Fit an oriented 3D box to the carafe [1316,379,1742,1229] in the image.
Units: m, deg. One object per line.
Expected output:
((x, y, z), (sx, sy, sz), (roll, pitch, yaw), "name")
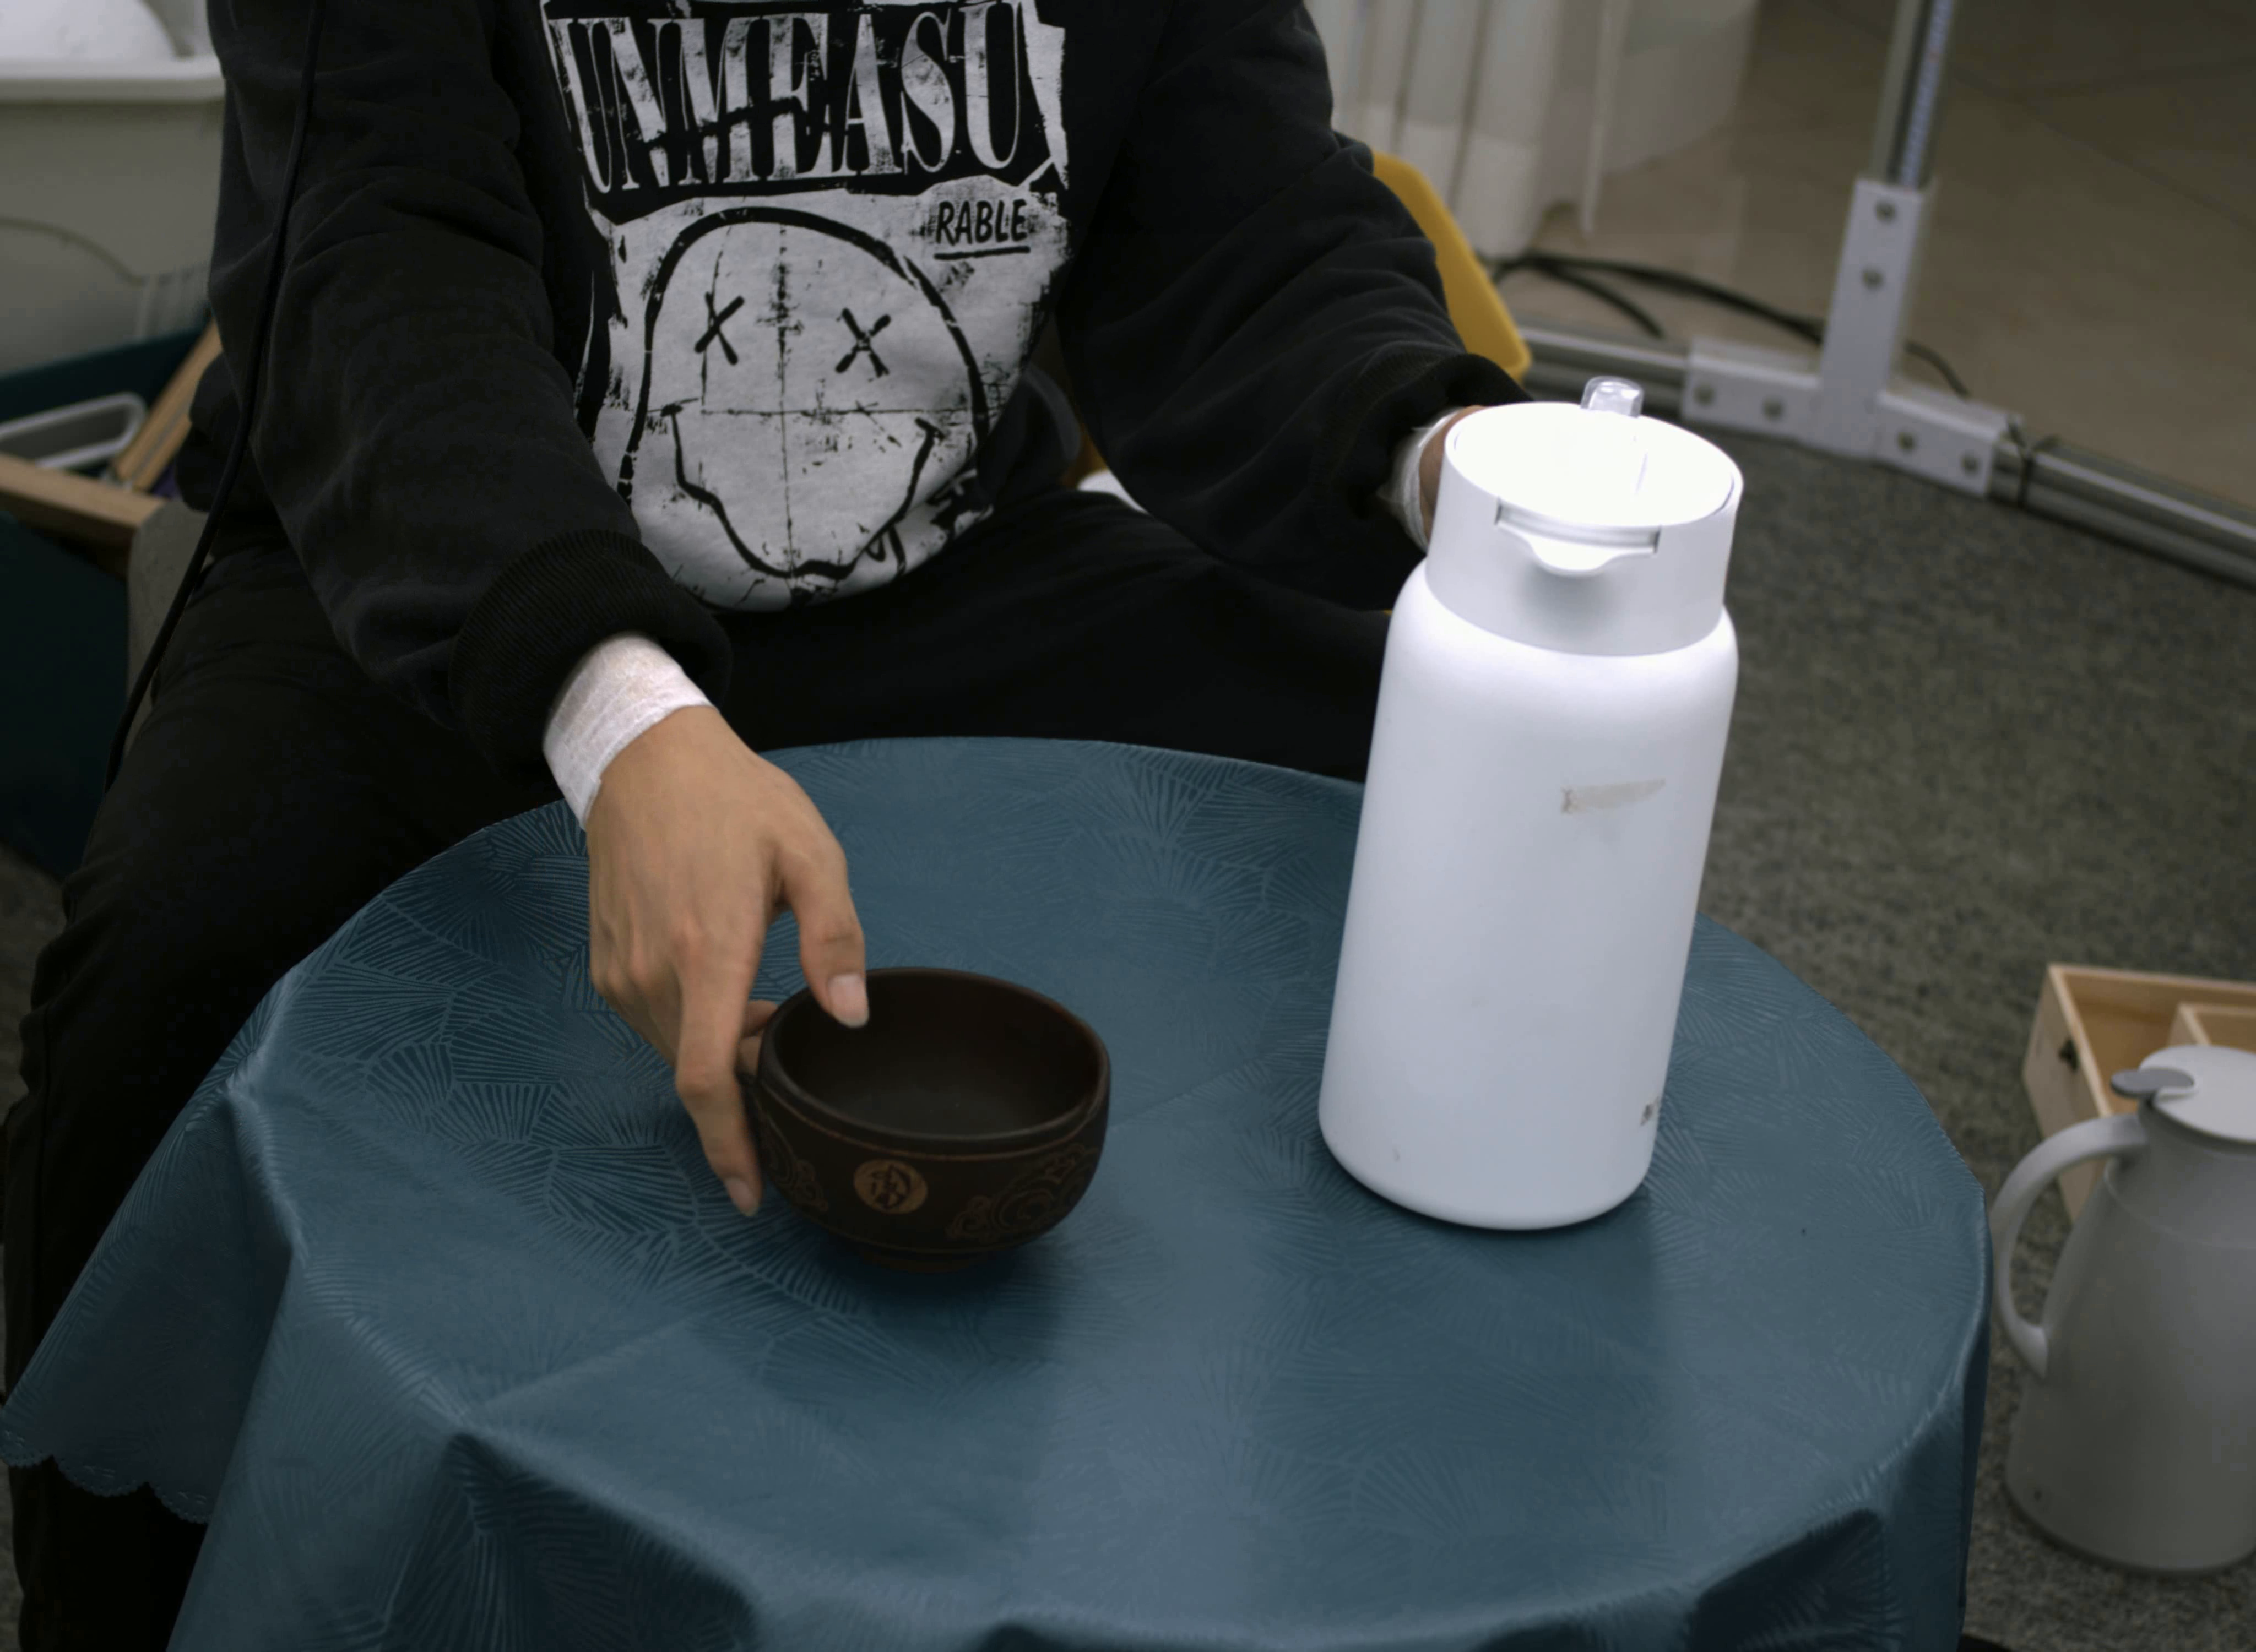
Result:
((0.138, -0.012, 1.809), (0.124, 0.268, 0.173), (8, 27, 7), "carafe")

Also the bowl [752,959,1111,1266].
((-0.066, 0.101, 1.753), (0.117, 0.069, 0.119), (5, 26, -3), "bowl")
